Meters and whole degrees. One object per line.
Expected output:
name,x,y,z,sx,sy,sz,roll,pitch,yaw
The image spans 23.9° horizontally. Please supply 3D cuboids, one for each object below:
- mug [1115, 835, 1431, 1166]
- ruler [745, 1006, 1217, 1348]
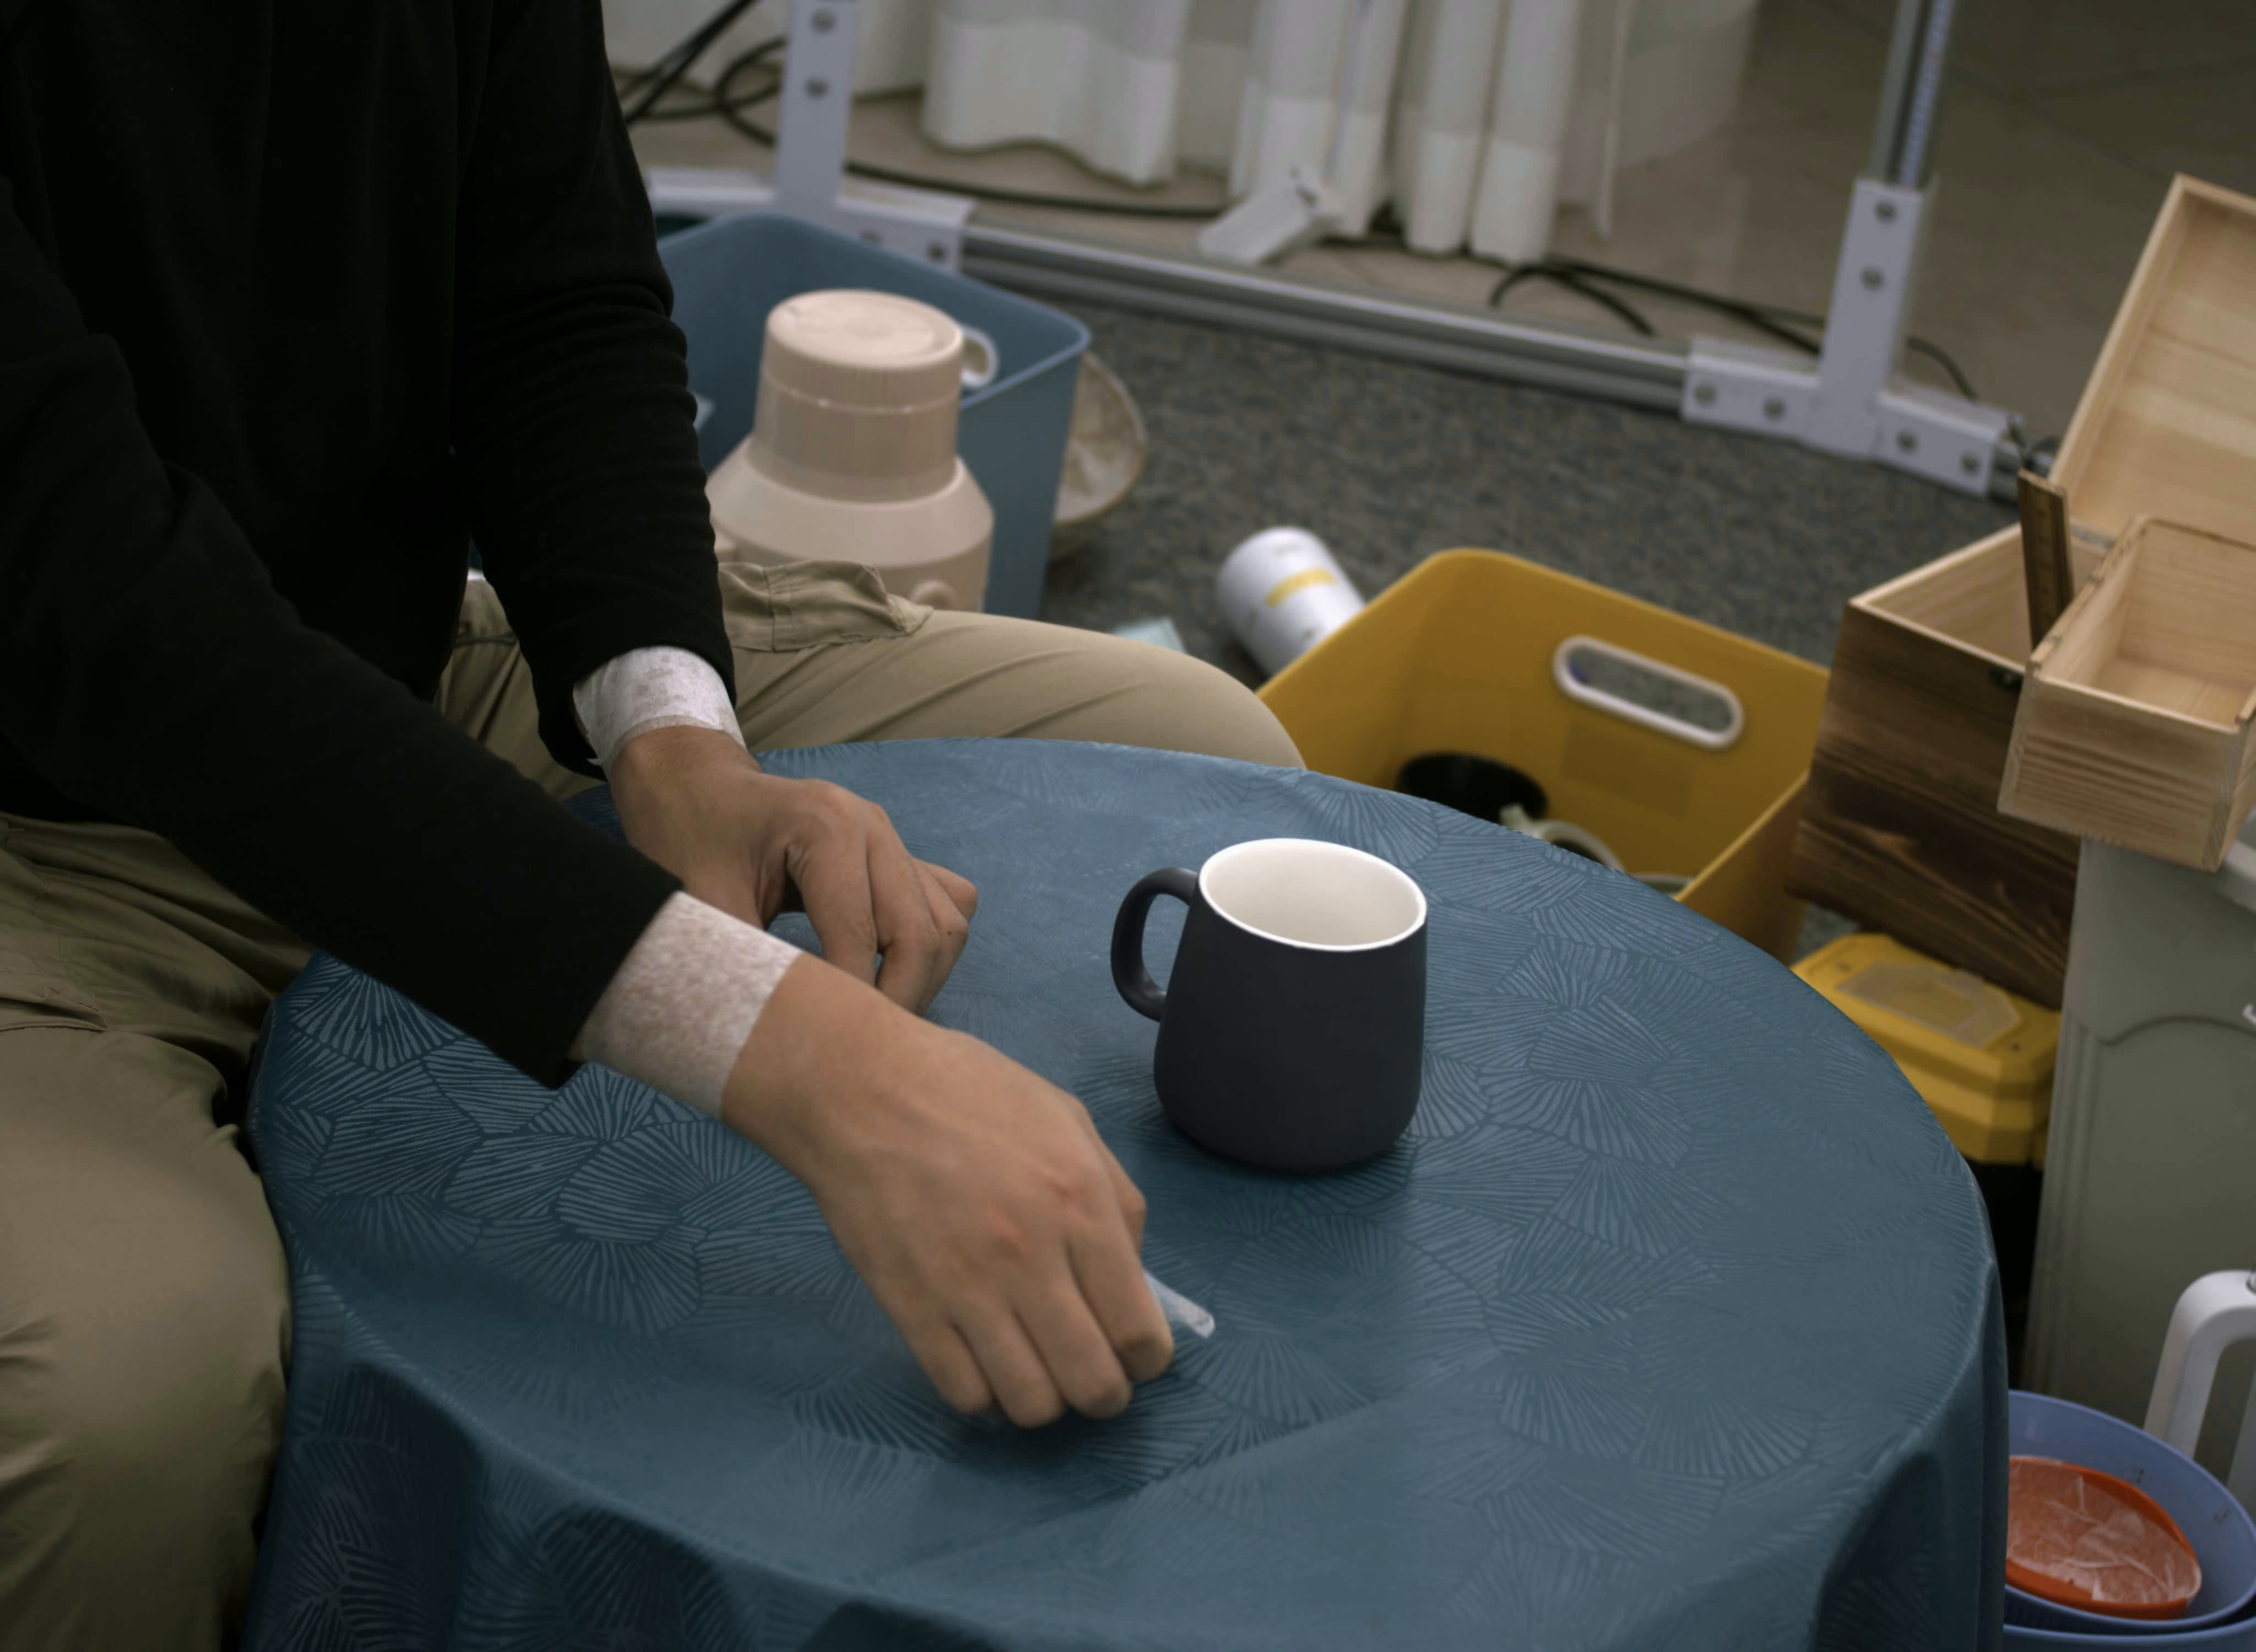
mug,0.047,0.055,1.844,0.124,0.089,0.093,26,32,31
ruler,-0.054,0.113,1.759,0.038,0.024,0.220,-17,32,-37
